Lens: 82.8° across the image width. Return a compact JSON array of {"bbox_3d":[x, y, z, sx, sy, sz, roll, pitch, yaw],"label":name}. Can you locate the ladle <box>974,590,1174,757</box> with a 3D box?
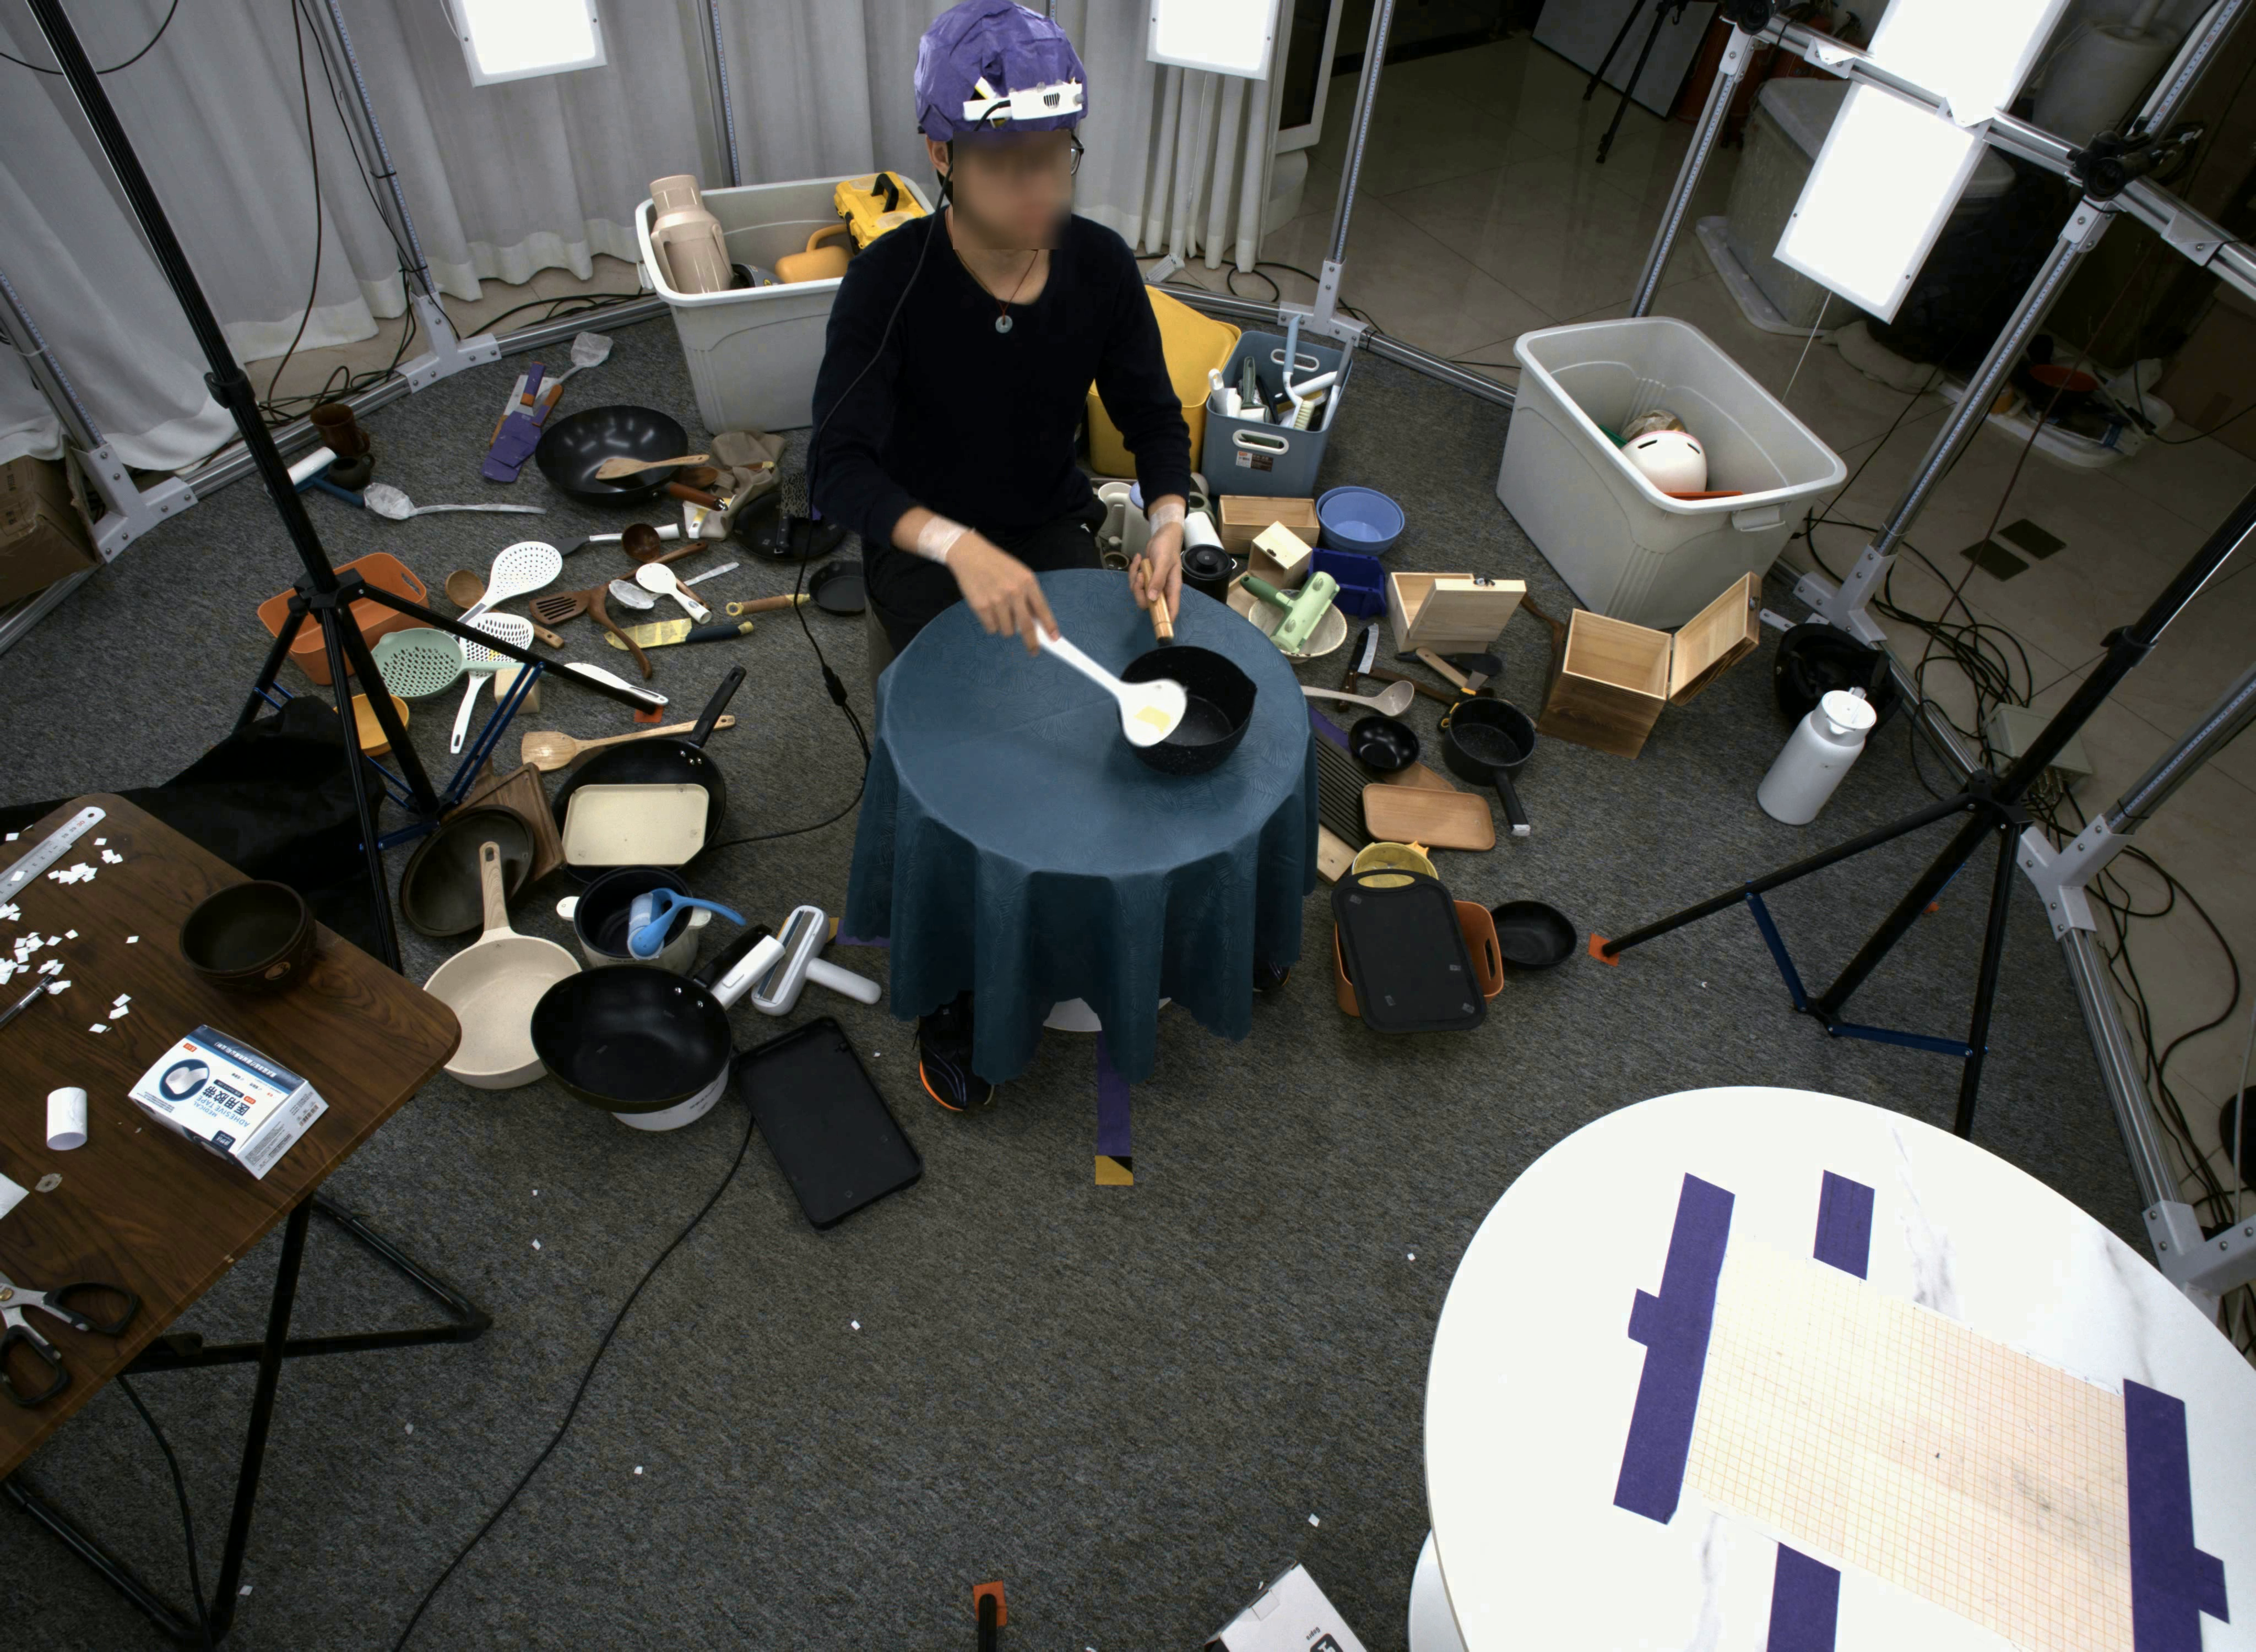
[{"bbox_3d":[-0.071,-0.199,1.620,0.292,0.090,0.070,37,8,-2],"label":"ladle"}]

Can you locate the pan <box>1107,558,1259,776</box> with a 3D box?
[{"bbox_3d":[0.057,-0.221,1.789,0.207,0.105,0.351,-9,53,-10],"label":"pan"}]
